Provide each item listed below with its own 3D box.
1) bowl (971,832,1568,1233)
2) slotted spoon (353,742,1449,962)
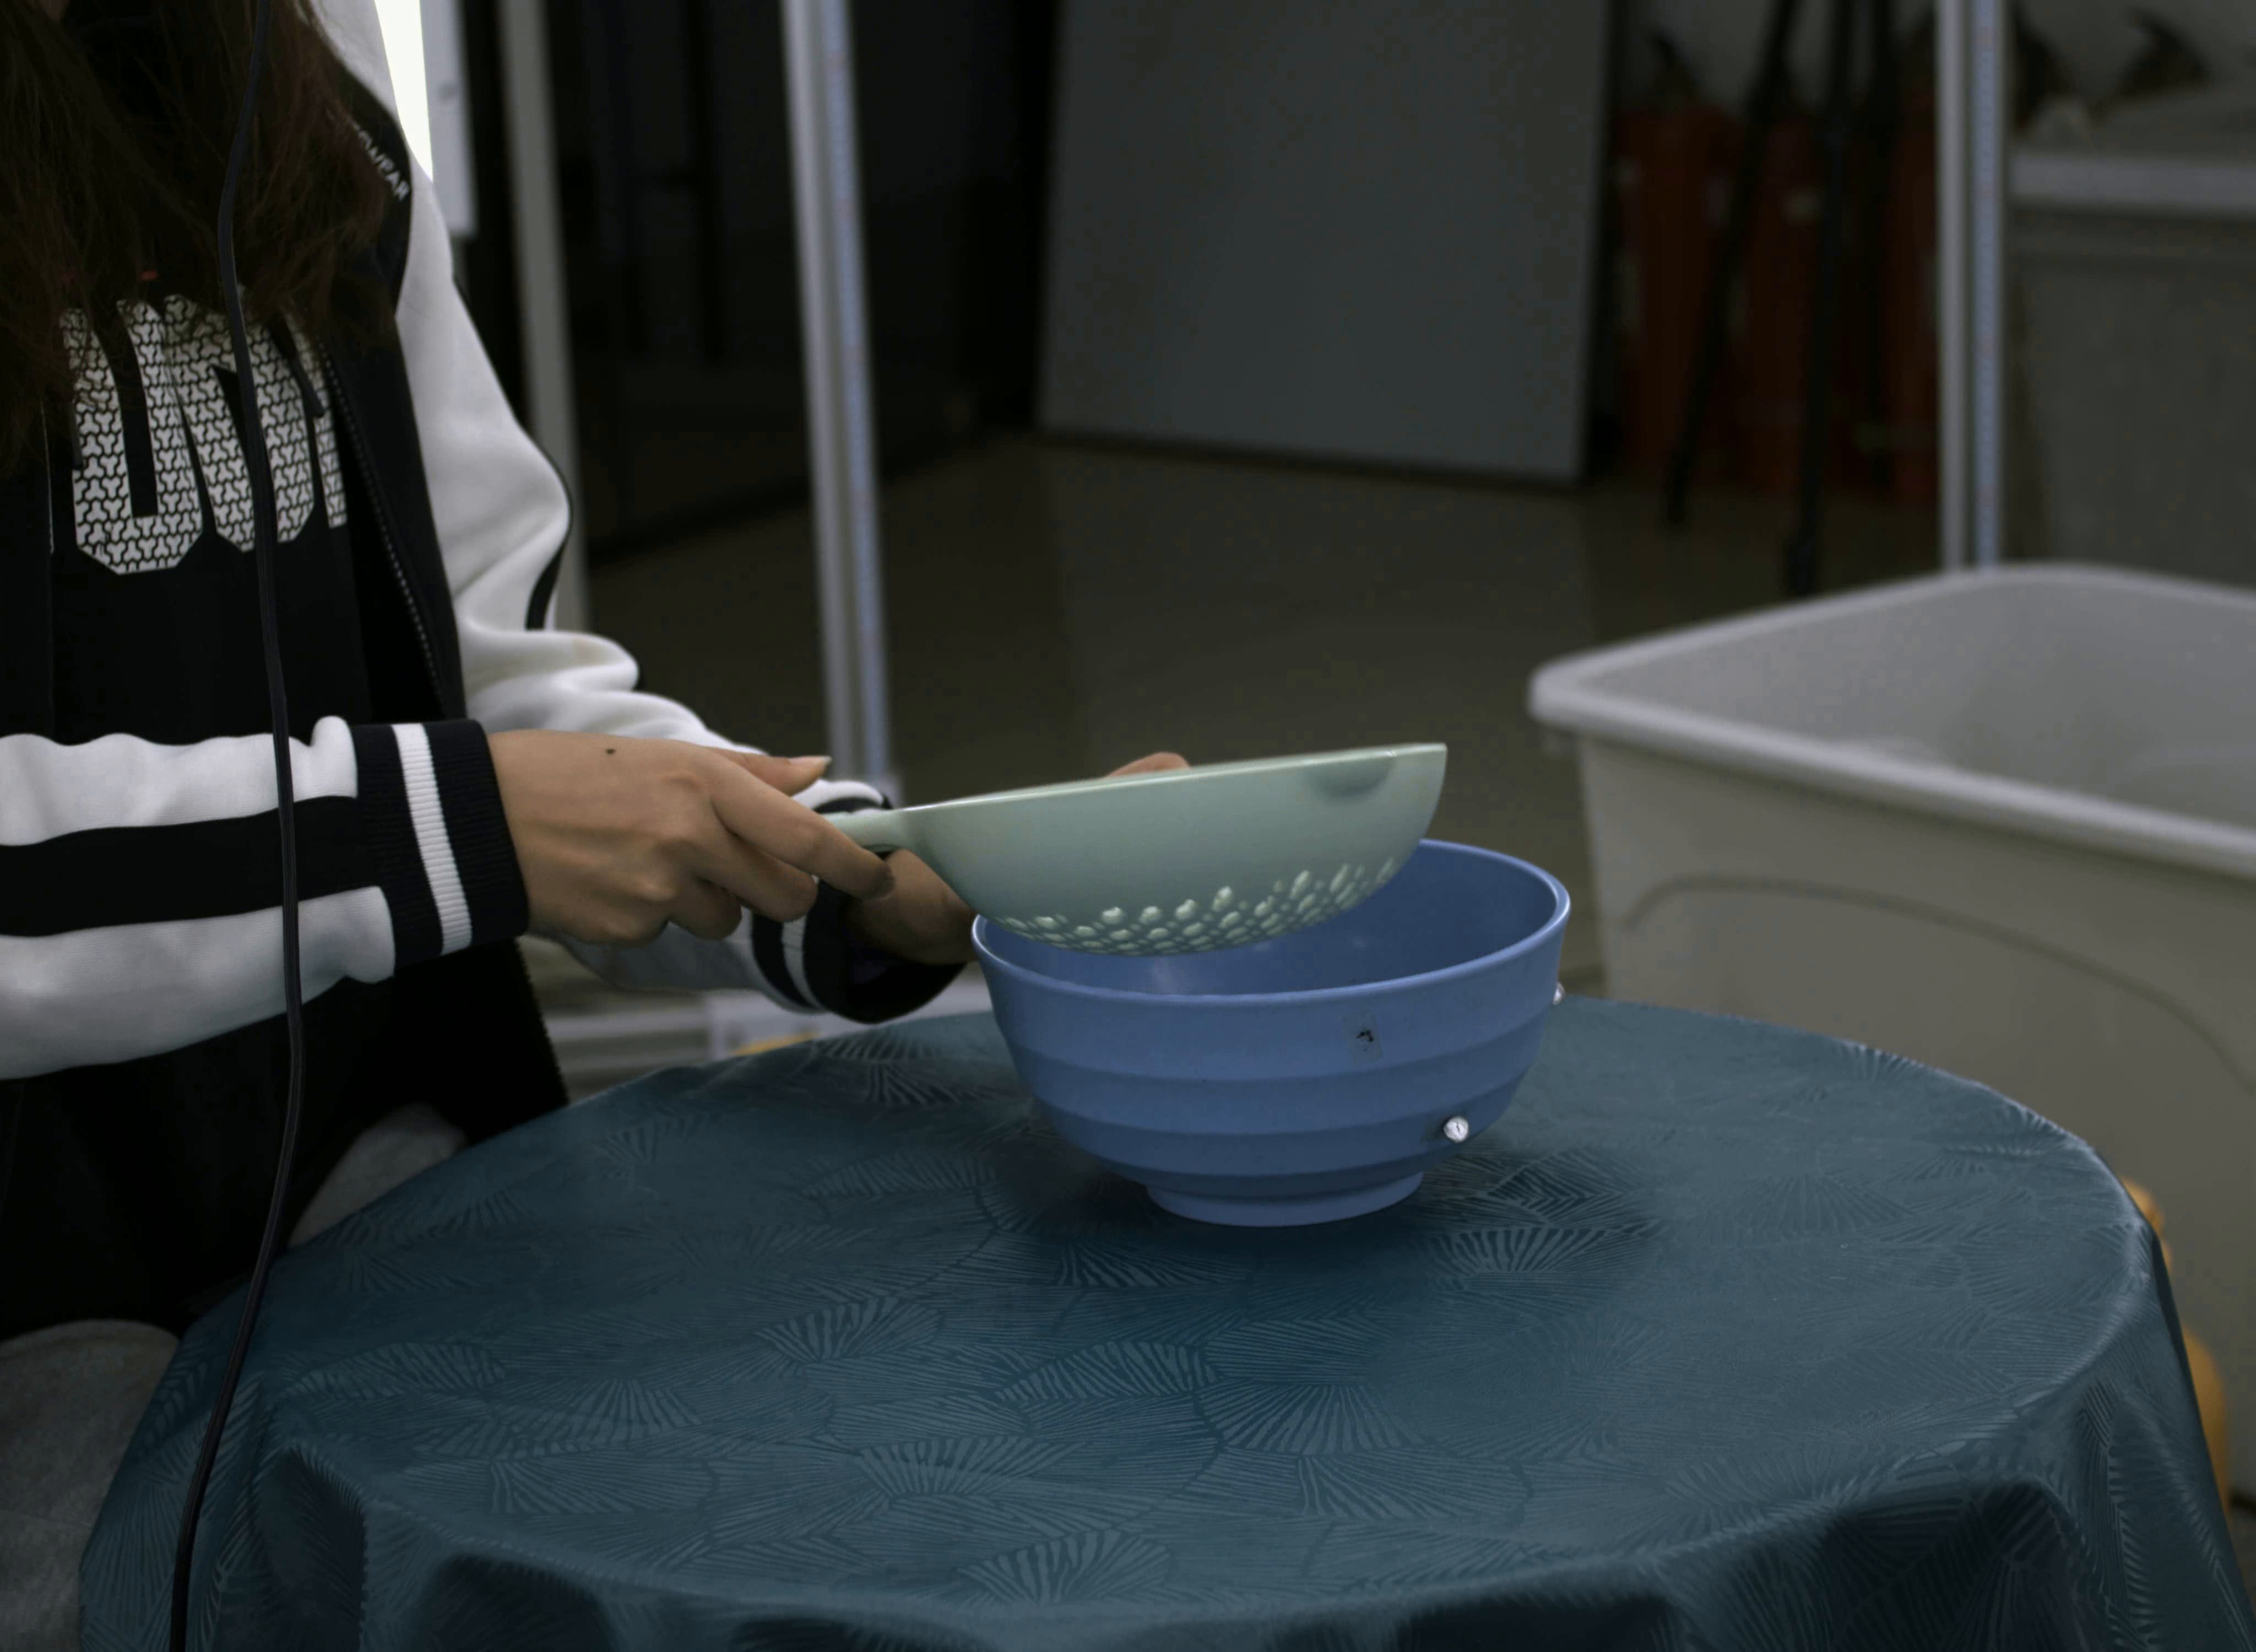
[{"bbox_3d":[0.049,0.073,1.755,0.194,0.096,0.197,-5,14,0],"label":"bowl"},{"bbox_3d":[-0.075,0.008,1.723,0.356,0.076,0.168,1,0,10],"label":"slotted spoon"}]
